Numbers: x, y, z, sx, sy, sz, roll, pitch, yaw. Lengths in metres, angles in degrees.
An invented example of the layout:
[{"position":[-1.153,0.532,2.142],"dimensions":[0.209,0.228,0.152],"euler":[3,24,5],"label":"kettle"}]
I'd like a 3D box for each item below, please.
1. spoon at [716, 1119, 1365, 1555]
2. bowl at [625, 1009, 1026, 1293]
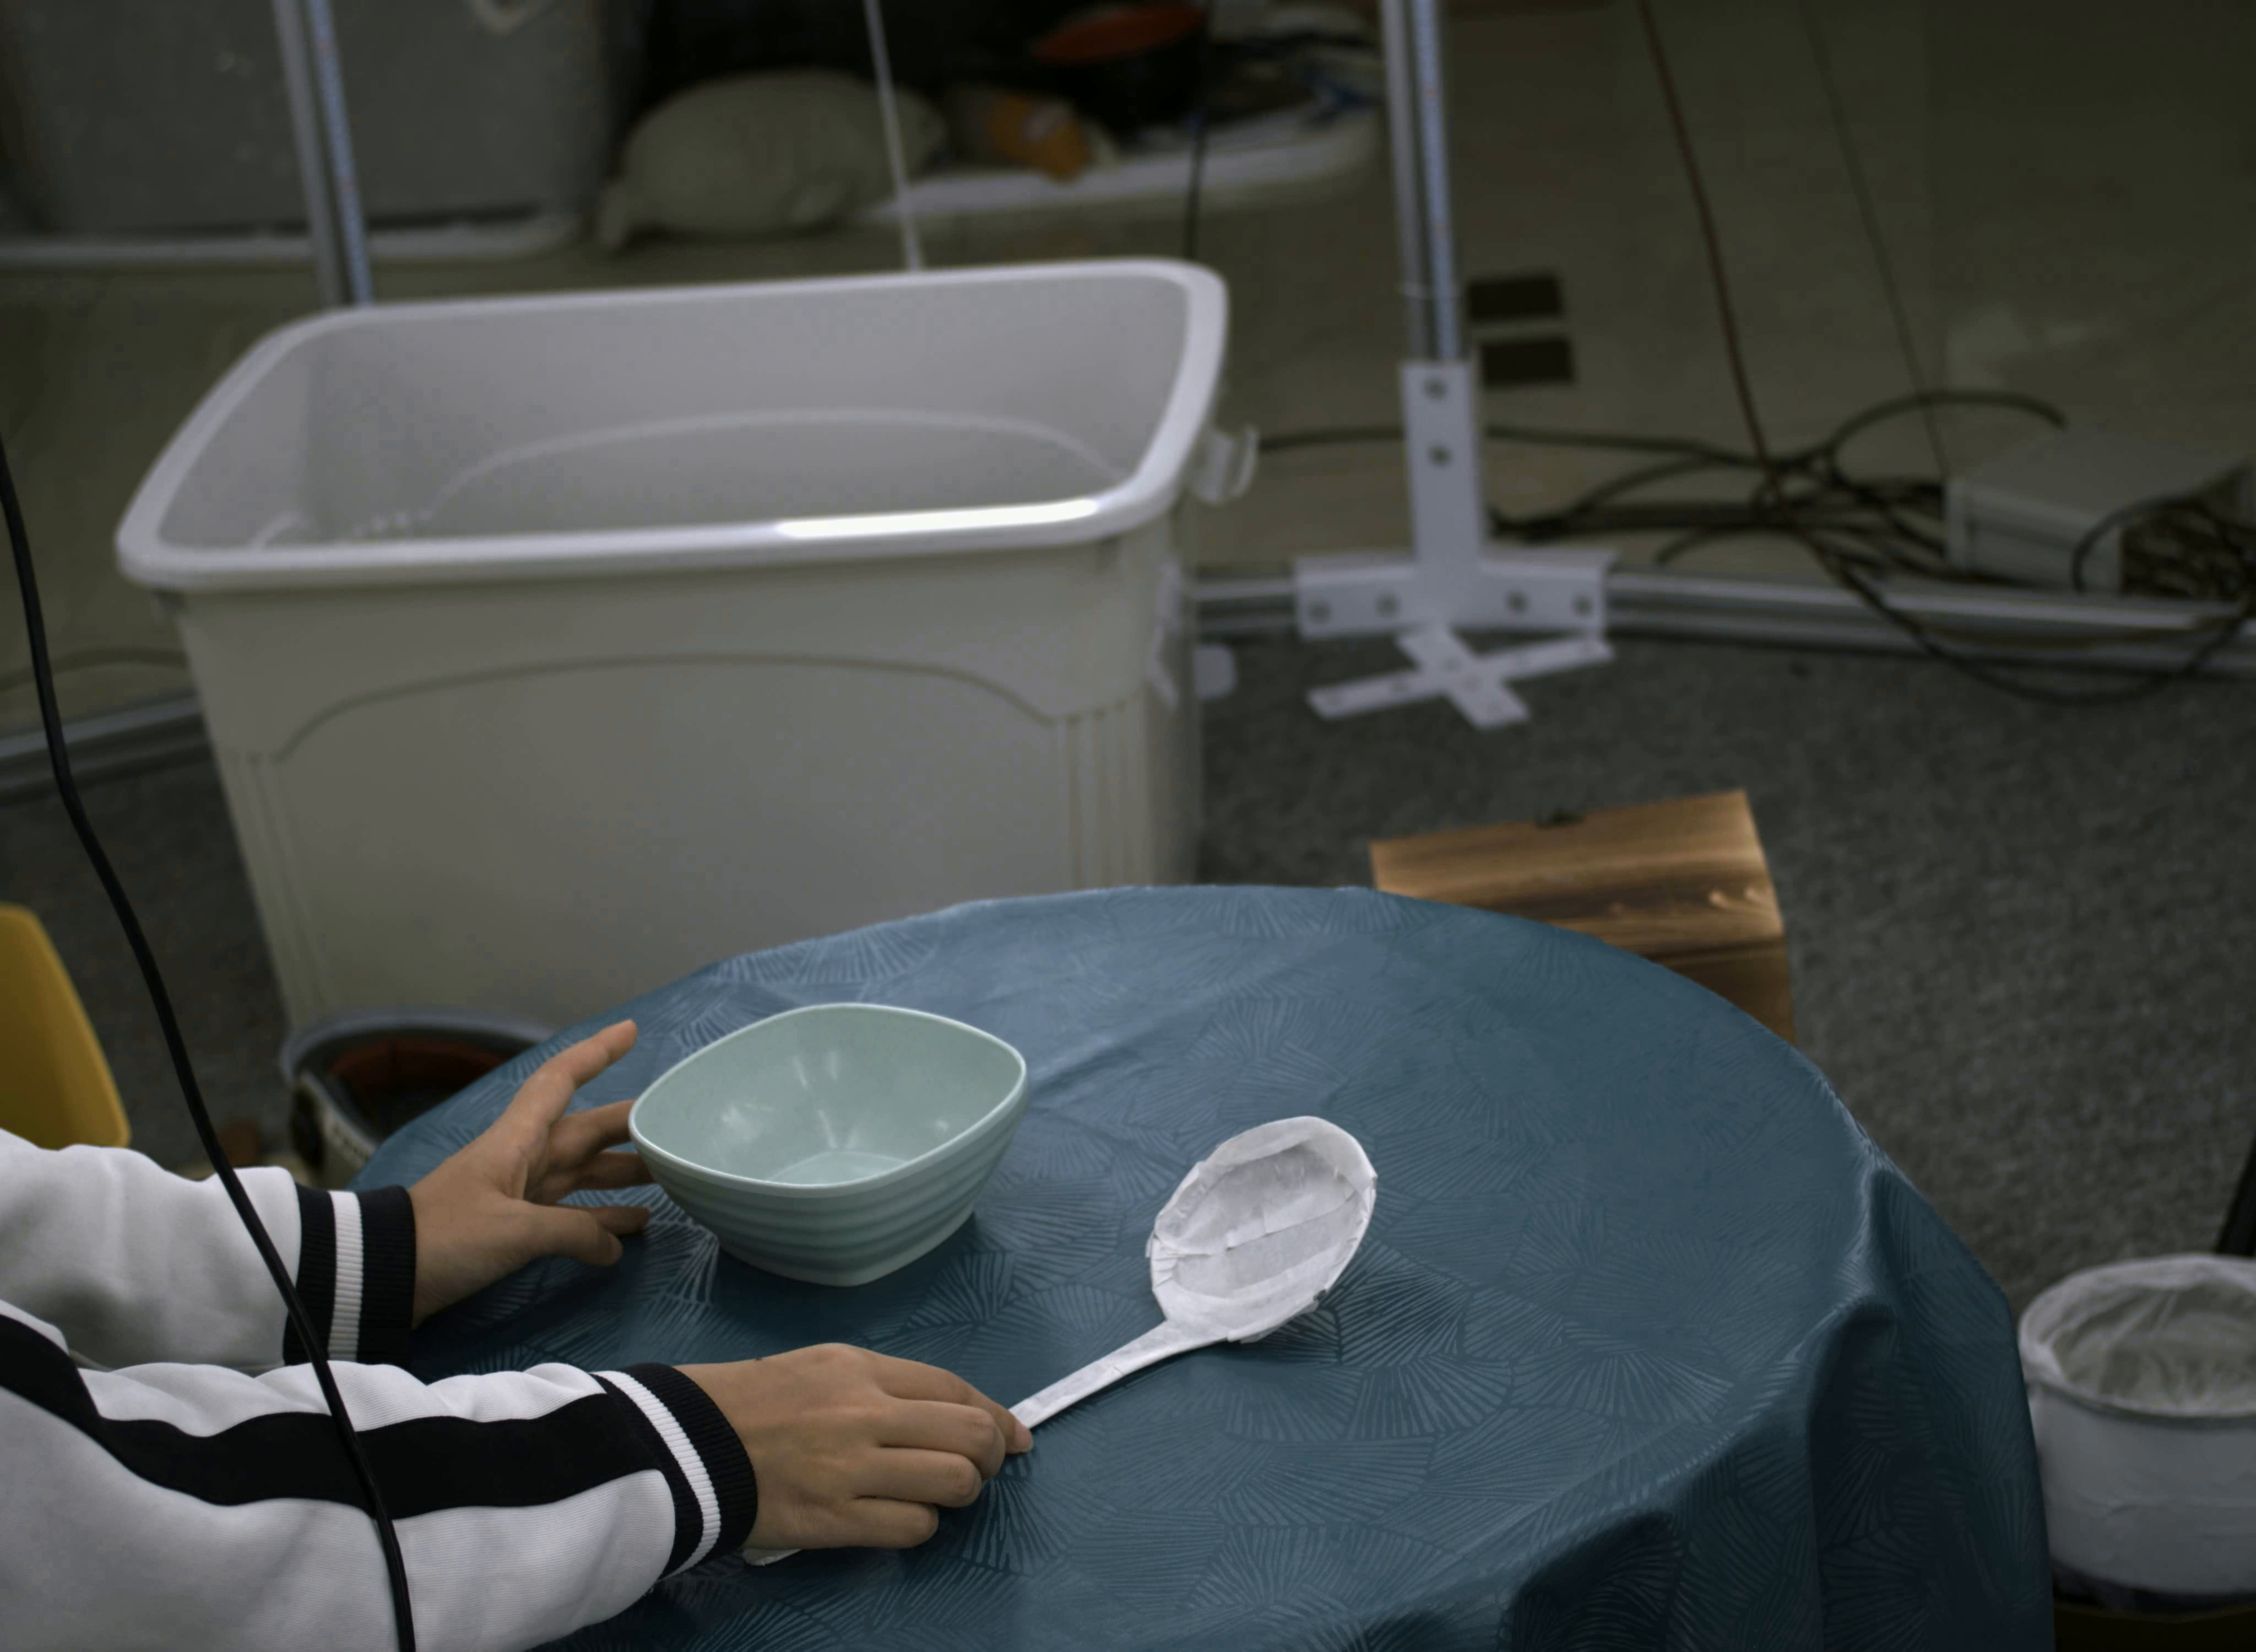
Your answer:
[{"position":[-0.035,0.178,2.006],"dimensions":[0.275,0.060,0.100],"euler":[-22,24,-30],"label":"spoon"},{"position":[-0.111,0.128,2.136],"dimensions":[0.151,0.059,0.149],"euler":[-5,25,2],"label":"bowl"}]
